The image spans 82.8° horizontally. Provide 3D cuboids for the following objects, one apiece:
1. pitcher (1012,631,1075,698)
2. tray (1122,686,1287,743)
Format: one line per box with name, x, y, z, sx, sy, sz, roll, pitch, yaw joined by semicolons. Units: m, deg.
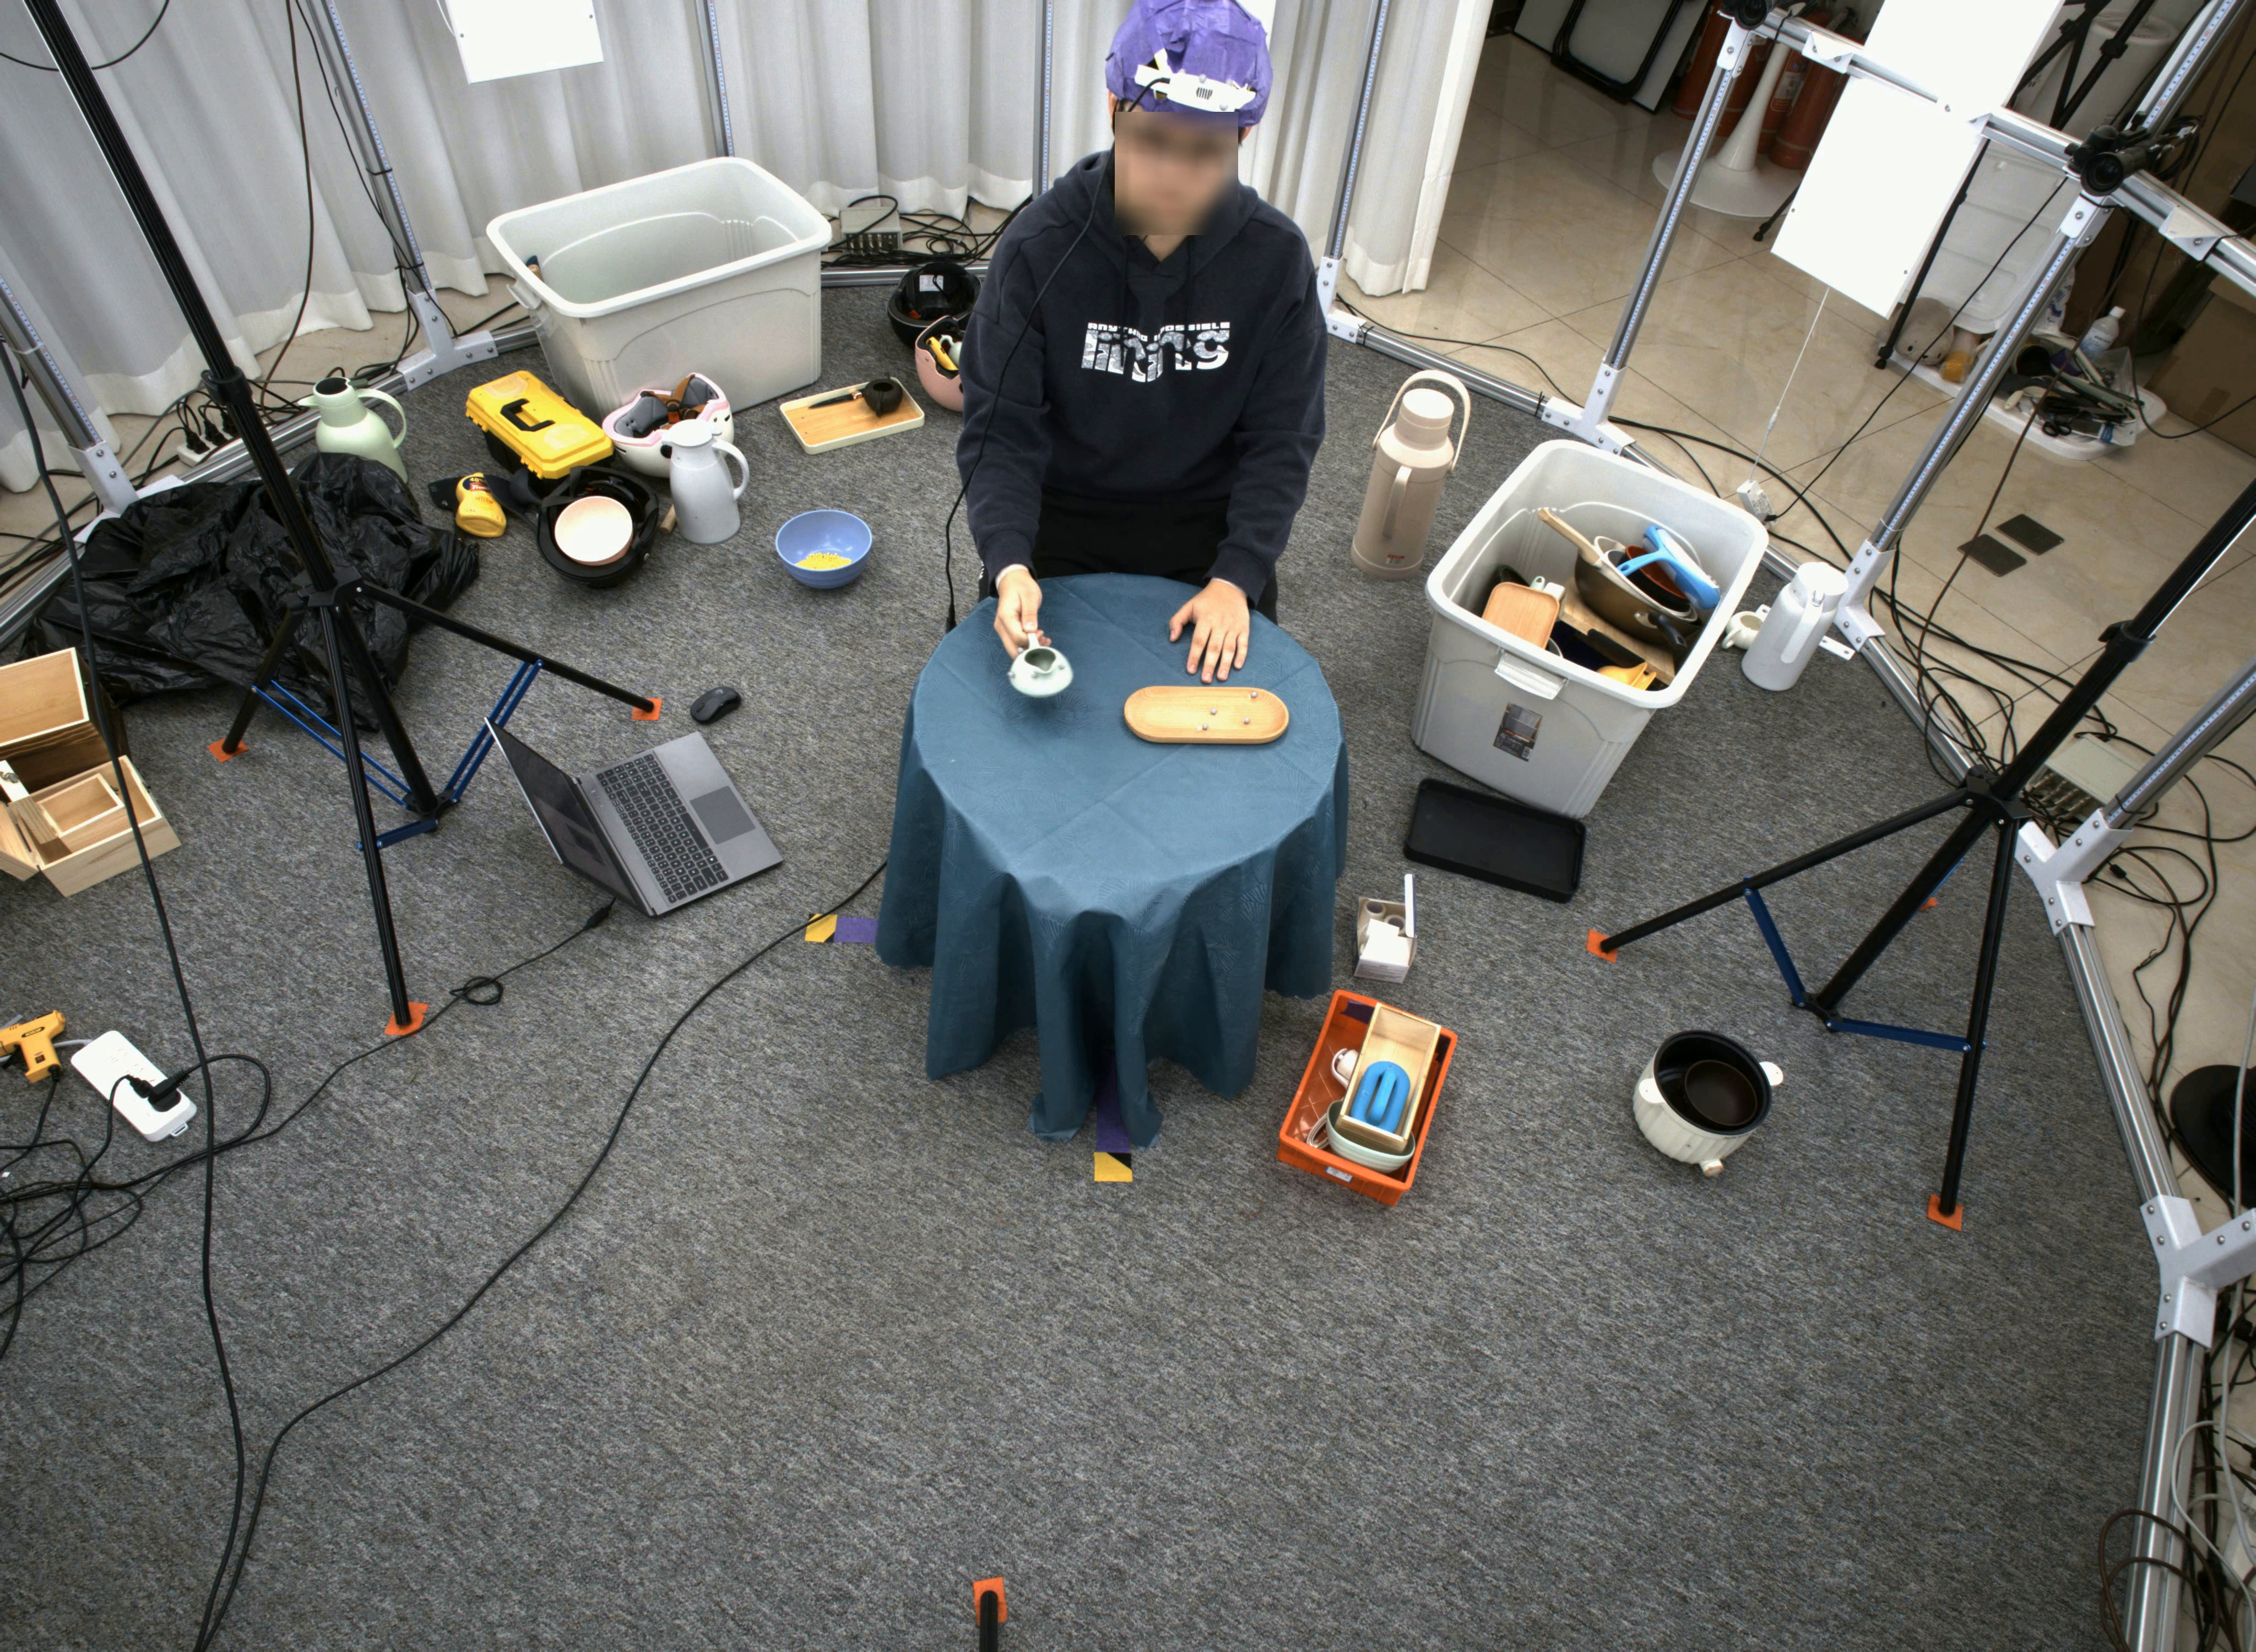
pitcher;-0.119;-0.220;1.762;0.086;0.059;0.110;-13;43;-15
tray;0.107;-0.156;1.799;0.231;0.020;0.104;-1;48;-3
